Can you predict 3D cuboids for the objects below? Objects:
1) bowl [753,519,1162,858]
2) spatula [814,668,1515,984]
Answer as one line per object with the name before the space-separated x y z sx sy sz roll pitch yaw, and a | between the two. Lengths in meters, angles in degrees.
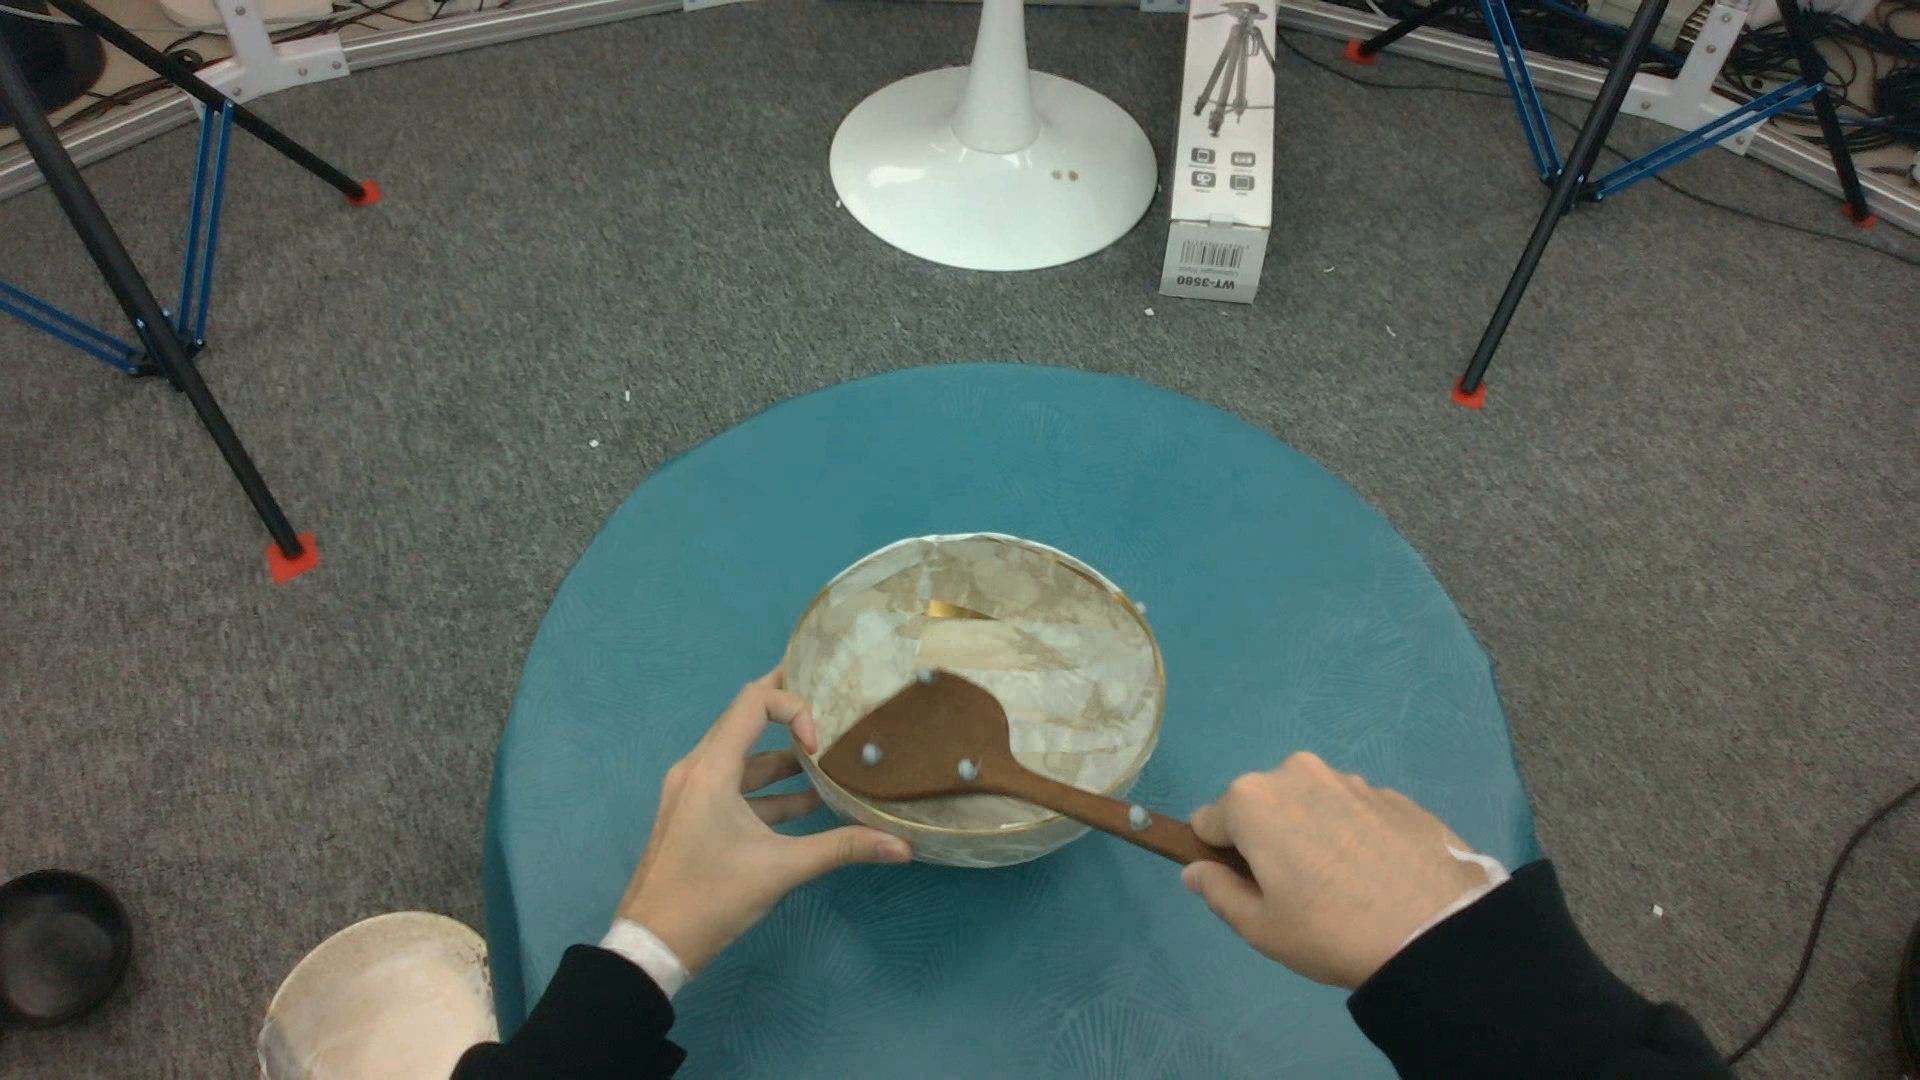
bowl | -0.003 0.093 0.741 0.215 0.094 0.215 2 46 -2
spatula | 0.065 0.119 0.612 0.096 0.016 0.385 -34 26 -30
